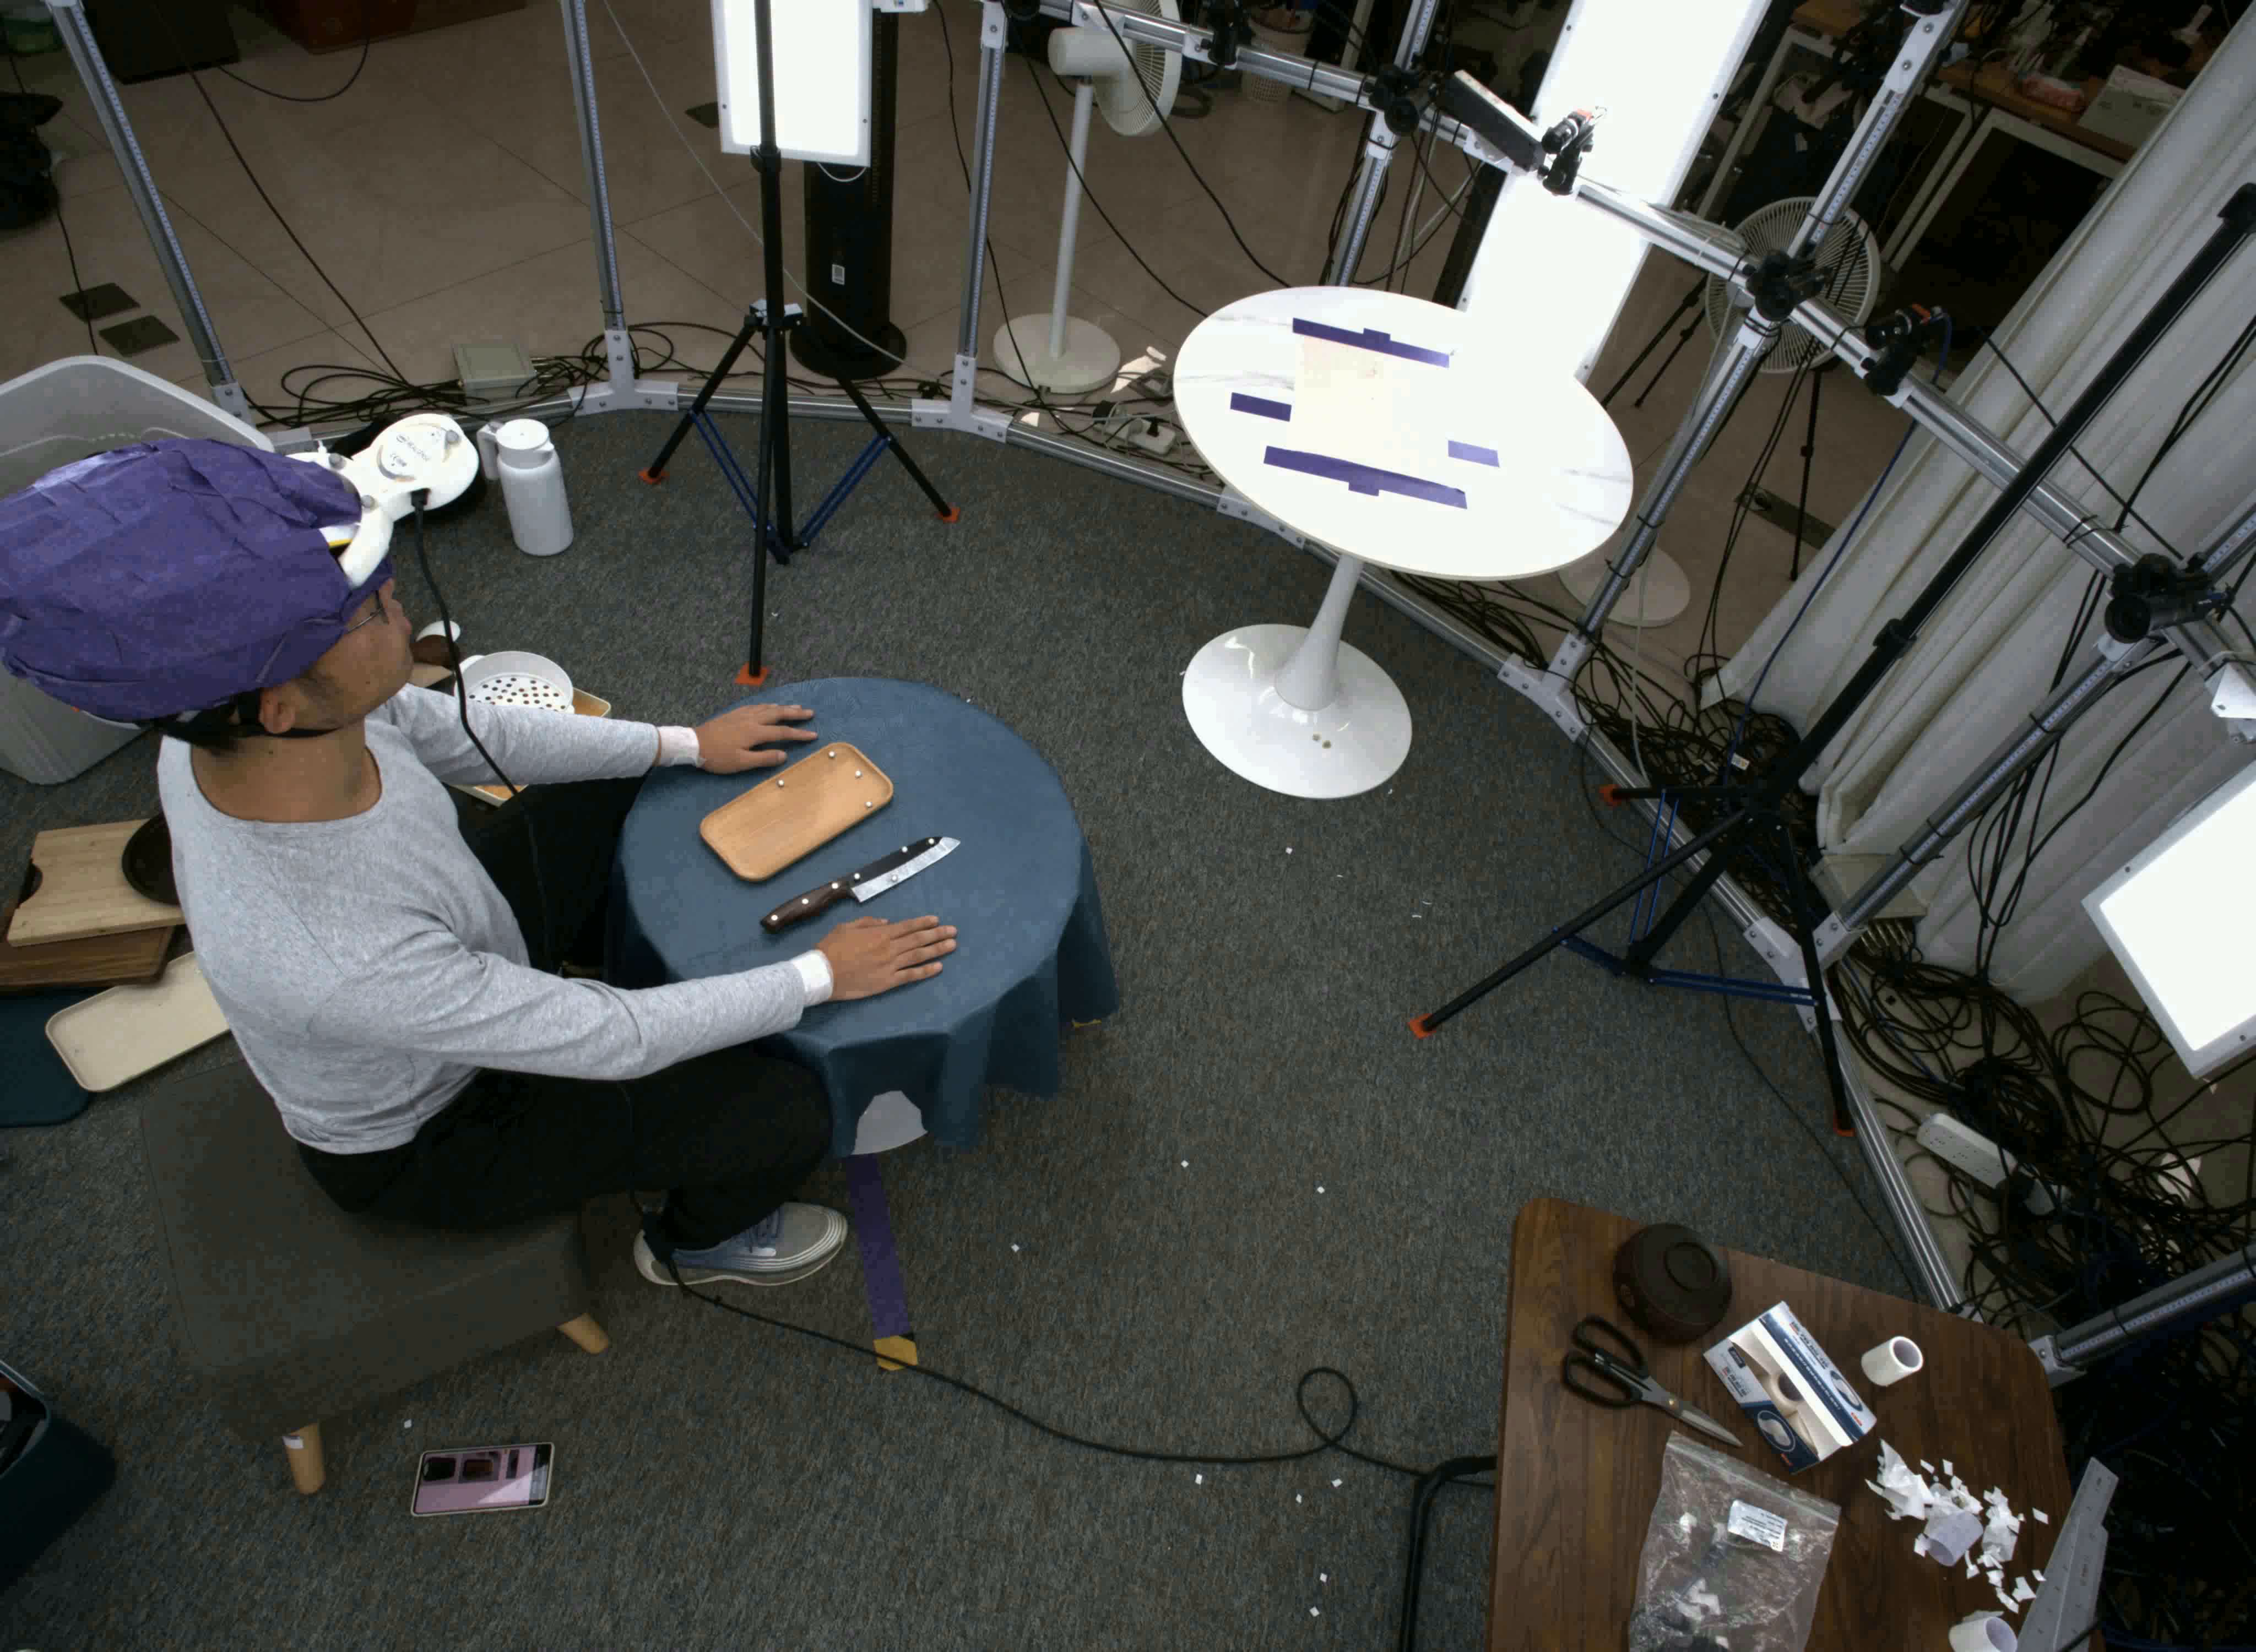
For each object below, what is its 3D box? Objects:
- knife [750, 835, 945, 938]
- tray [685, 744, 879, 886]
[{"bbox_3d":[-0.359,0.073,1.688,0.290,0.020,0.049,-27,70,-32],"label":"knife"},{"bbox_3d":[-0.459,-0.018,1.730,0.127,0.023,0.251,41,56,19],"label":"tray"}]
